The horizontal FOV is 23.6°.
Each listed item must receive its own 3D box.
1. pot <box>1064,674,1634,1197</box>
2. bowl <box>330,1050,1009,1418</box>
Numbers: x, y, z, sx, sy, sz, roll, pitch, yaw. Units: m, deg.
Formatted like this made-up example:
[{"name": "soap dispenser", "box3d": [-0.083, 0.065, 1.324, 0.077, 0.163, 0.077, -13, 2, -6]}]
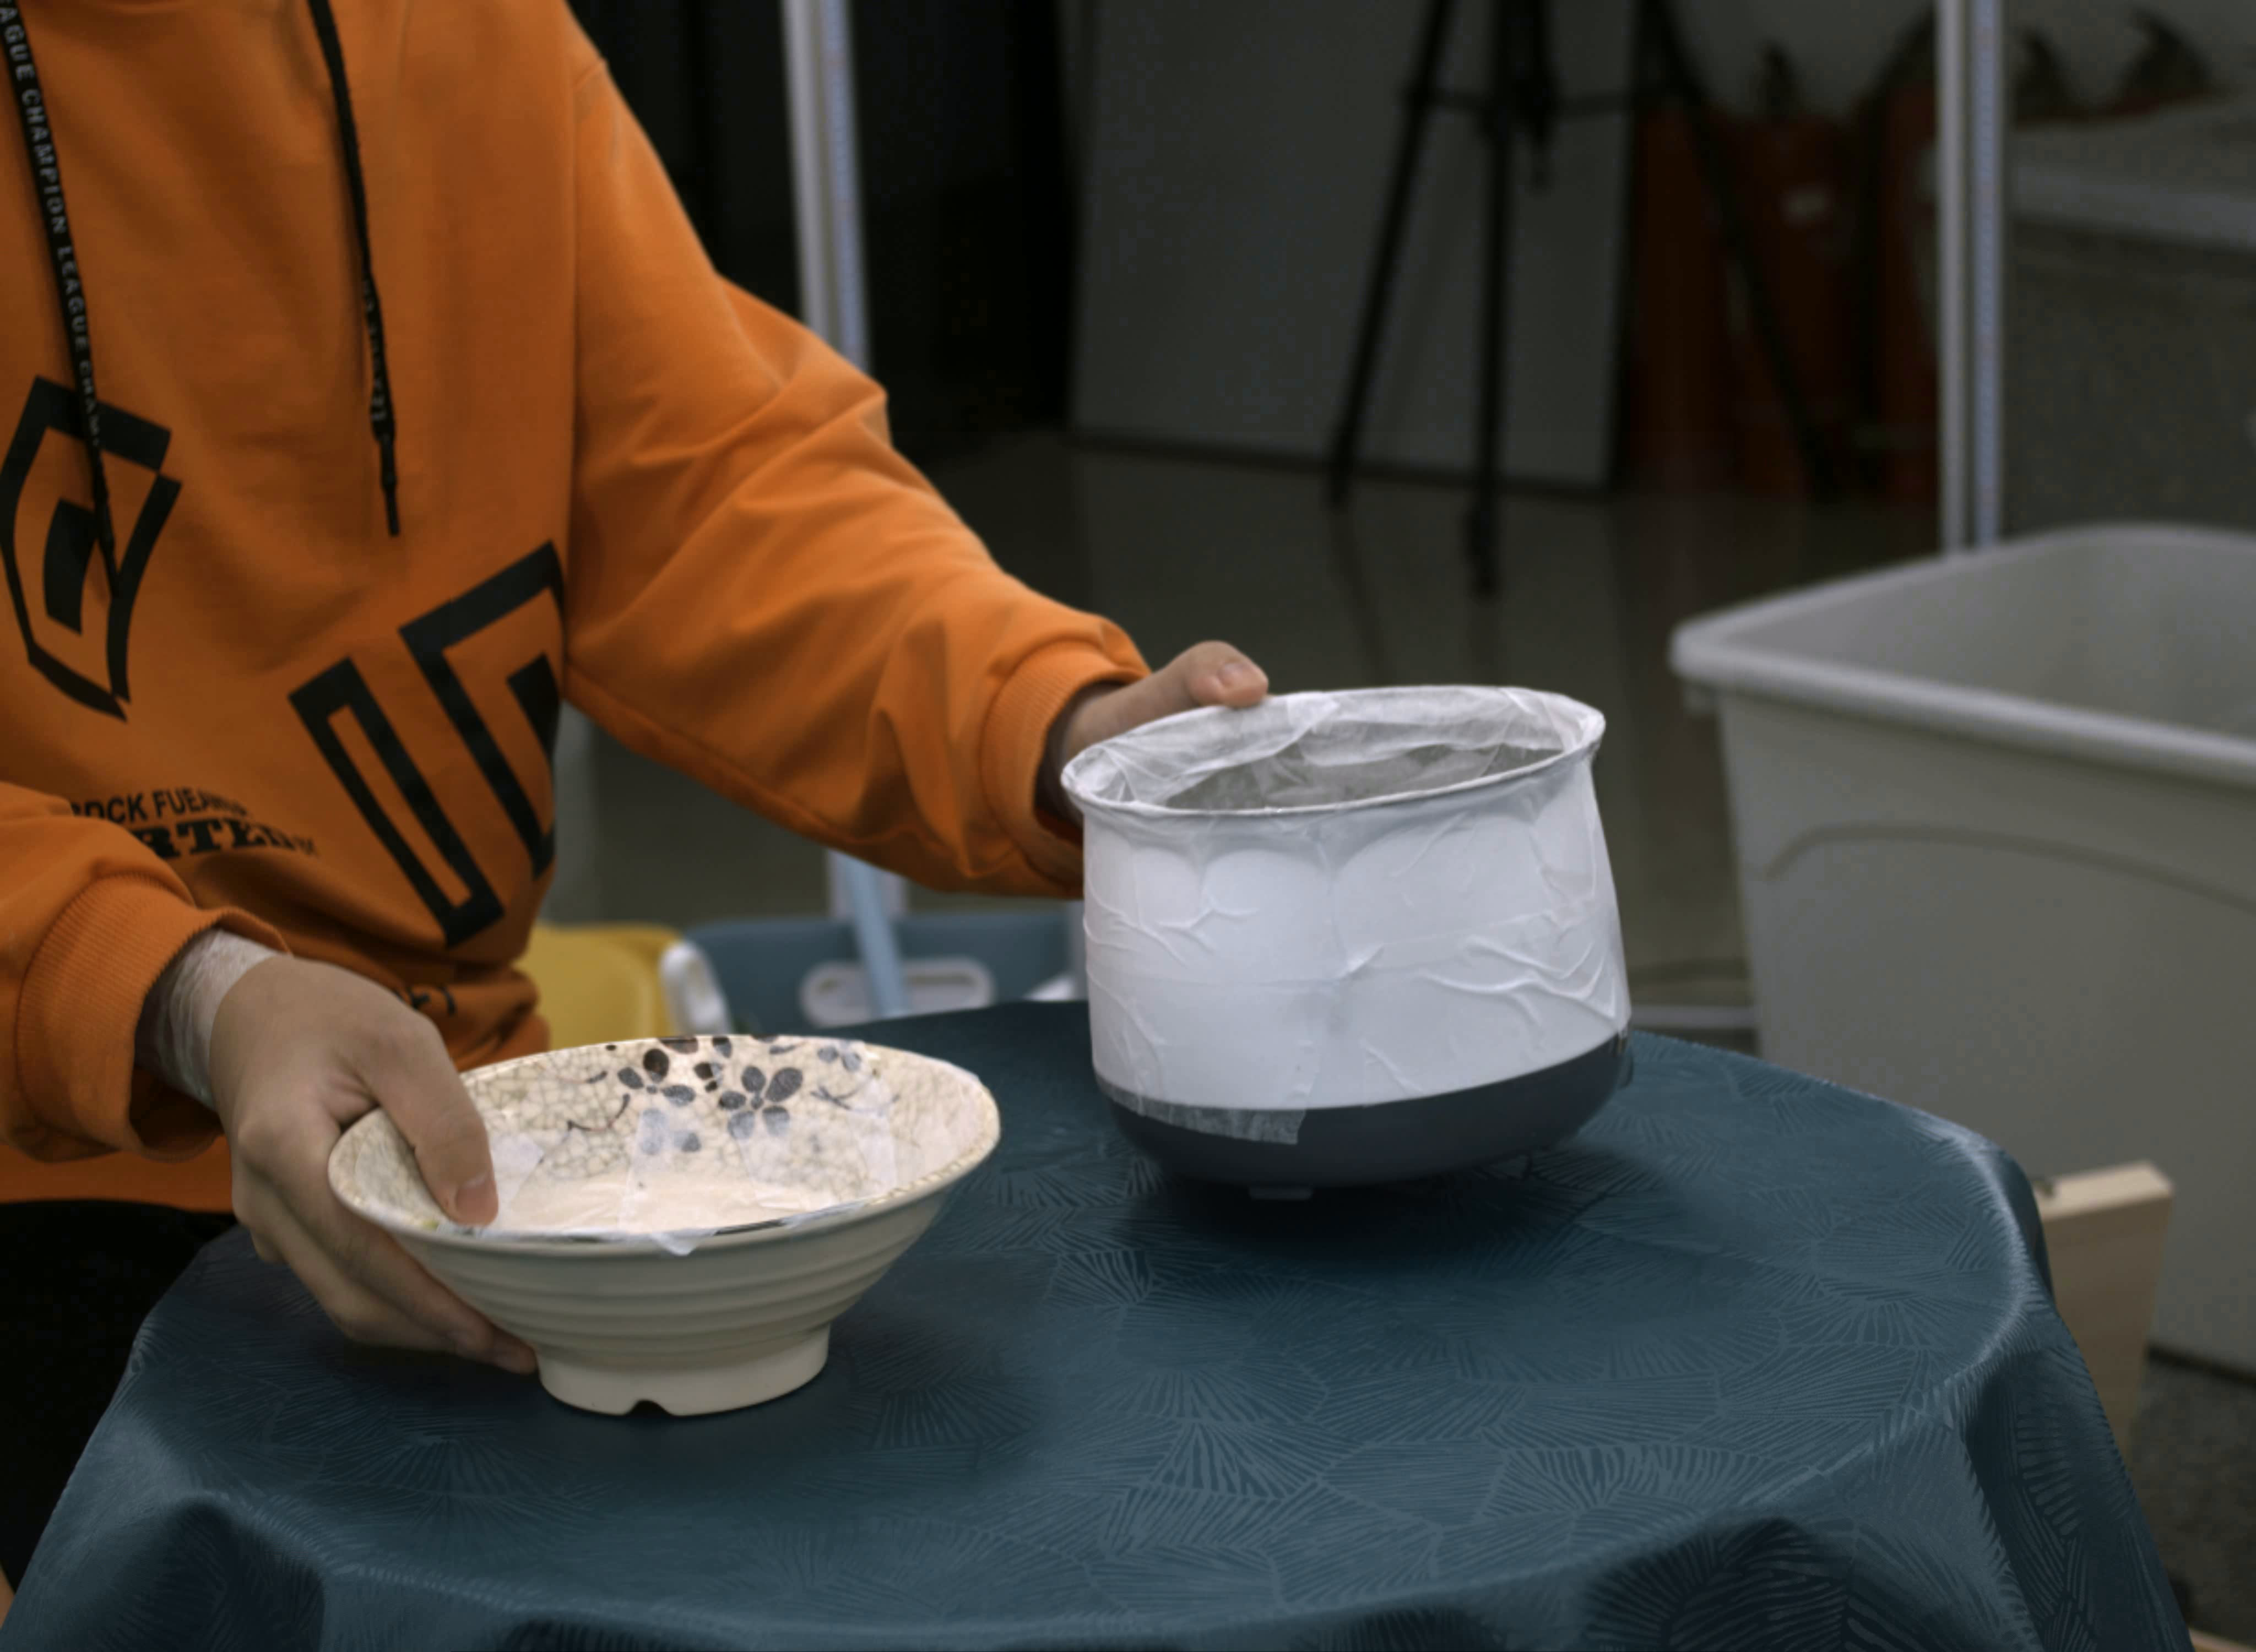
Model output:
[{"name": "pot", "box3d": [0.063, 0.029, 1.763, 0.175, 0.138, 0.236, -10, 12, -17]}, {"name": "bowl", "box3d": [-0.135, 0.127, 1.616, 0.201, 0.079, 0.204, -2, 11, -1]}]
